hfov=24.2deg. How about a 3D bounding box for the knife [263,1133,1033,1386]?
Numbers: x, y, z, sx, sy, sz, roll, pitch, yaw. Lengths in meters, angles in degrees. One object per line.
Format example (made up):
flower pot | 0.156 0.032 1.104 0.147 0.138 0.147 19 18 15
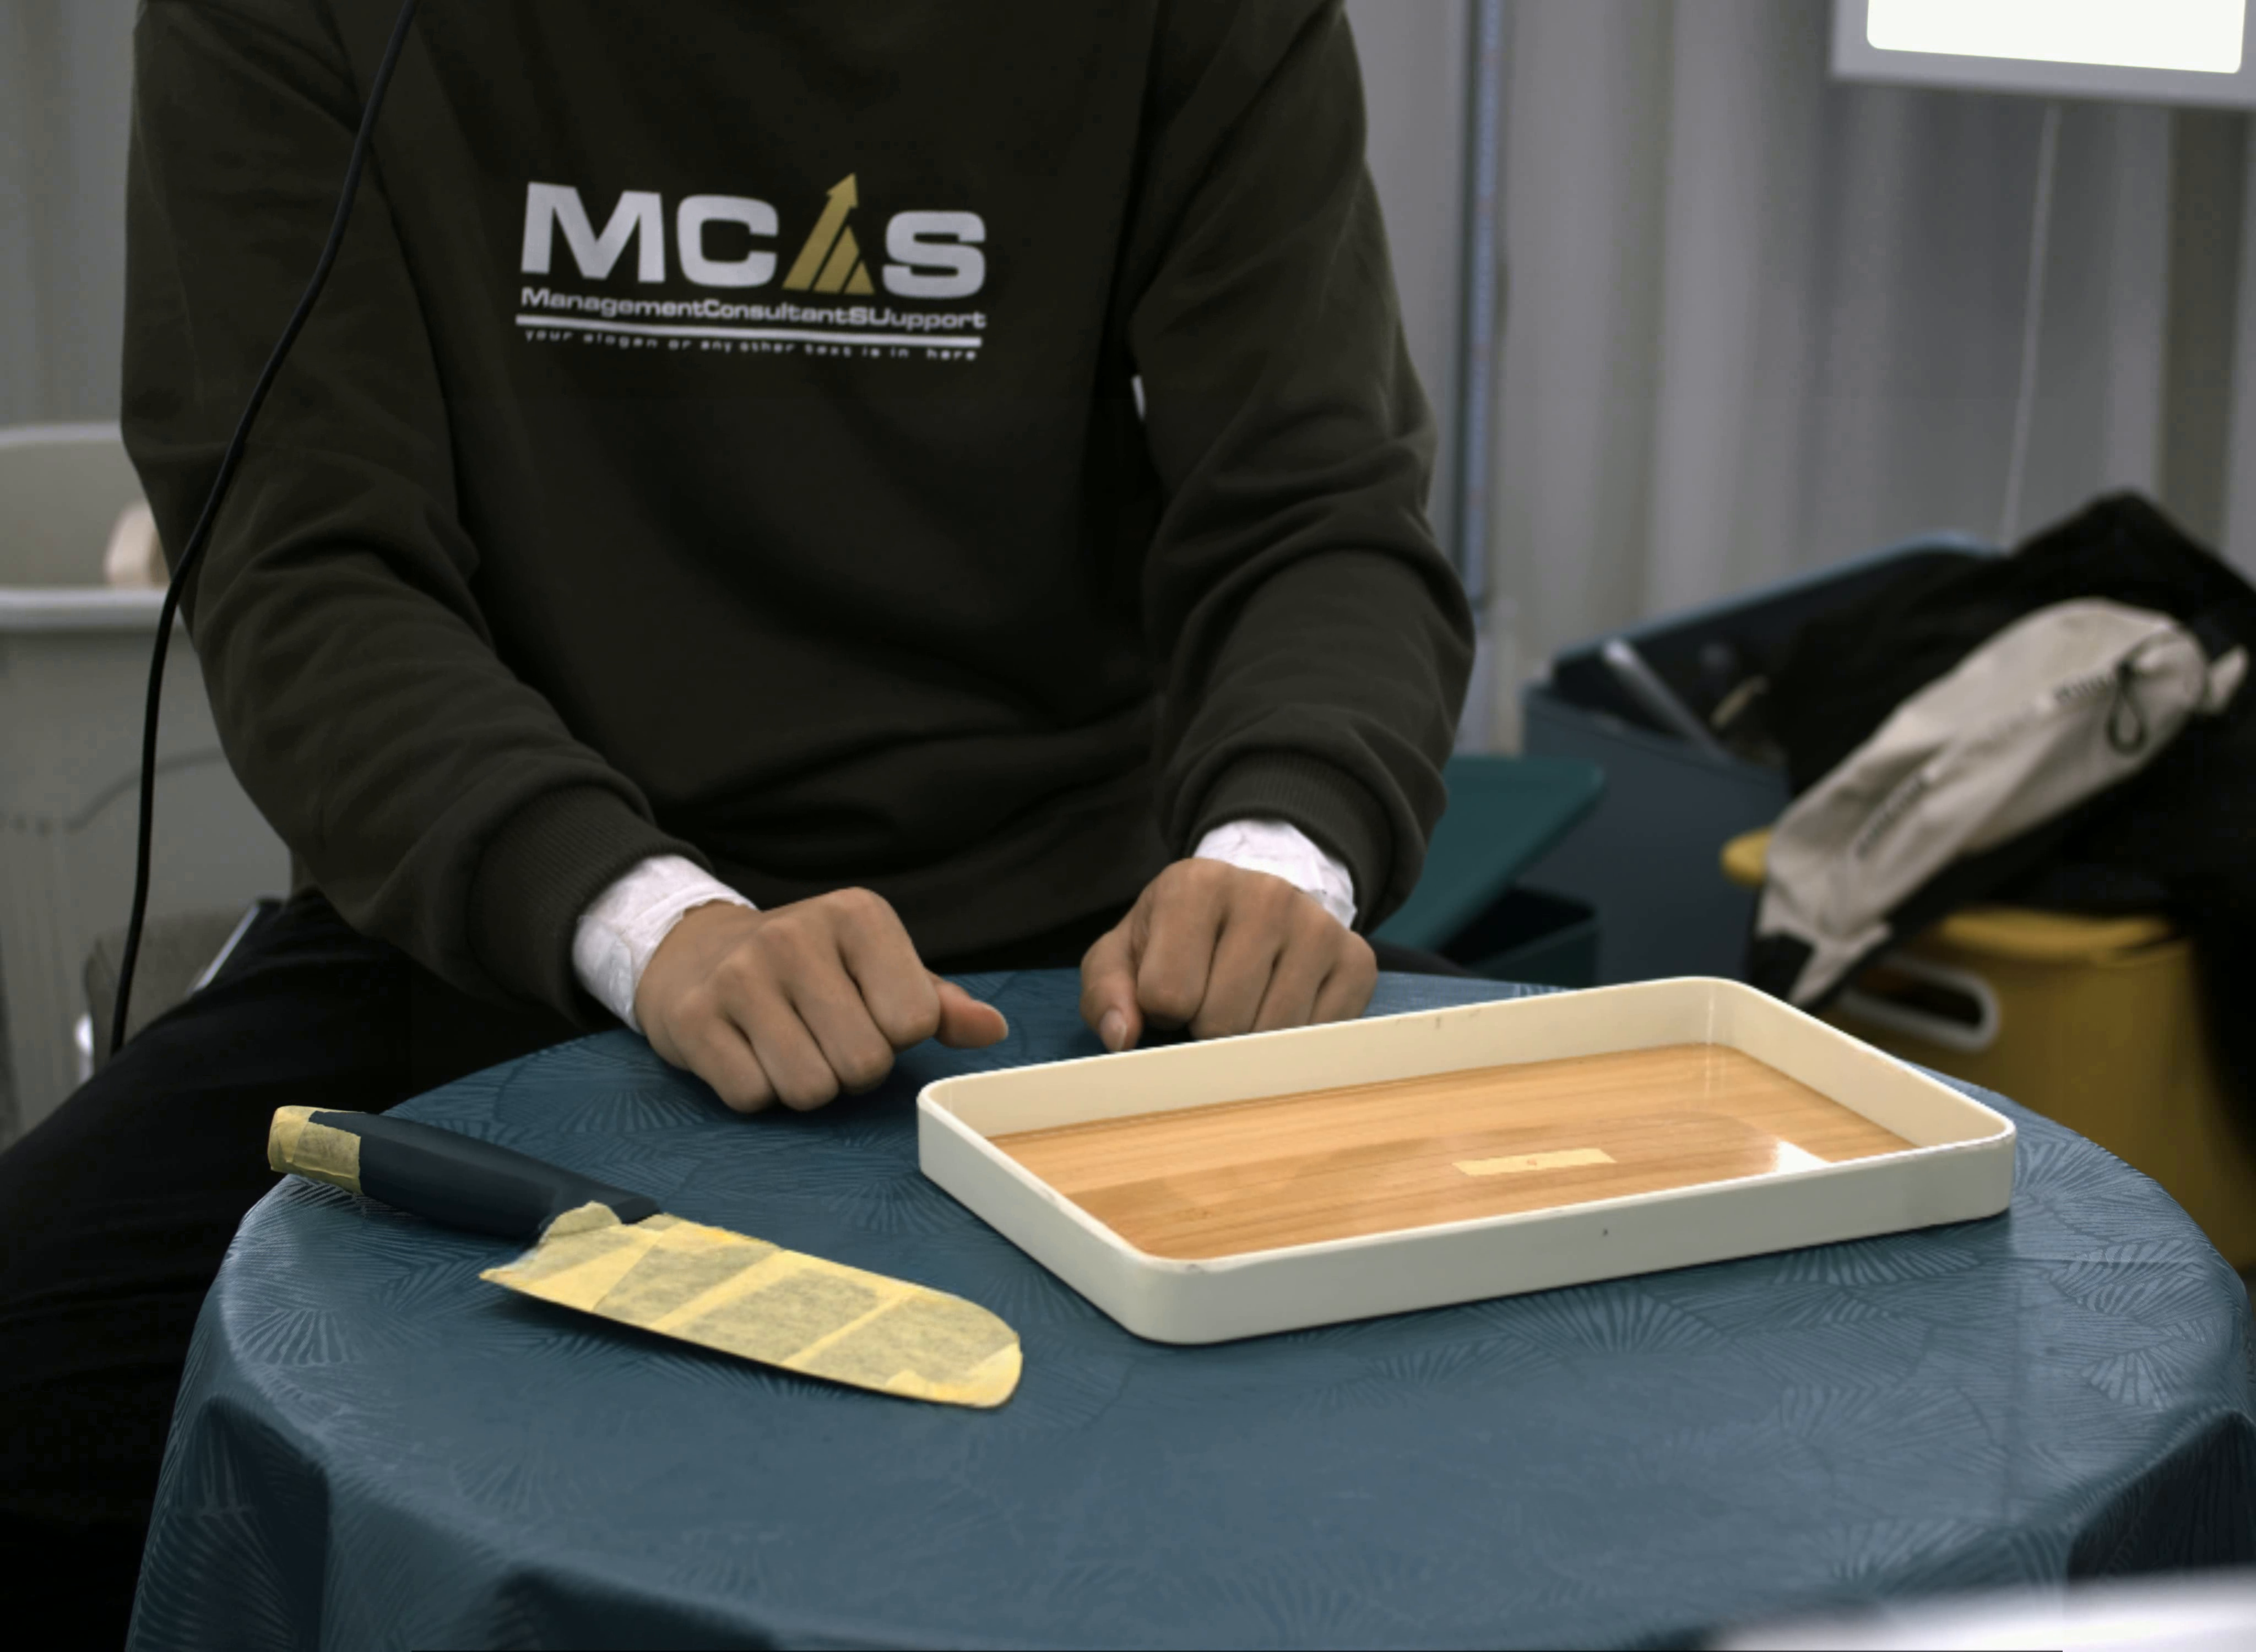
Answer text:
knife | -0.148 0.128 1.534 0.286 0.027 0.081 11 16 31

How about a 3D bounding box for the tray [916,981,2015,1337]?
tray | 0.103 0.099 1.627 0.301 0.027 0.189 -6 16 -25
